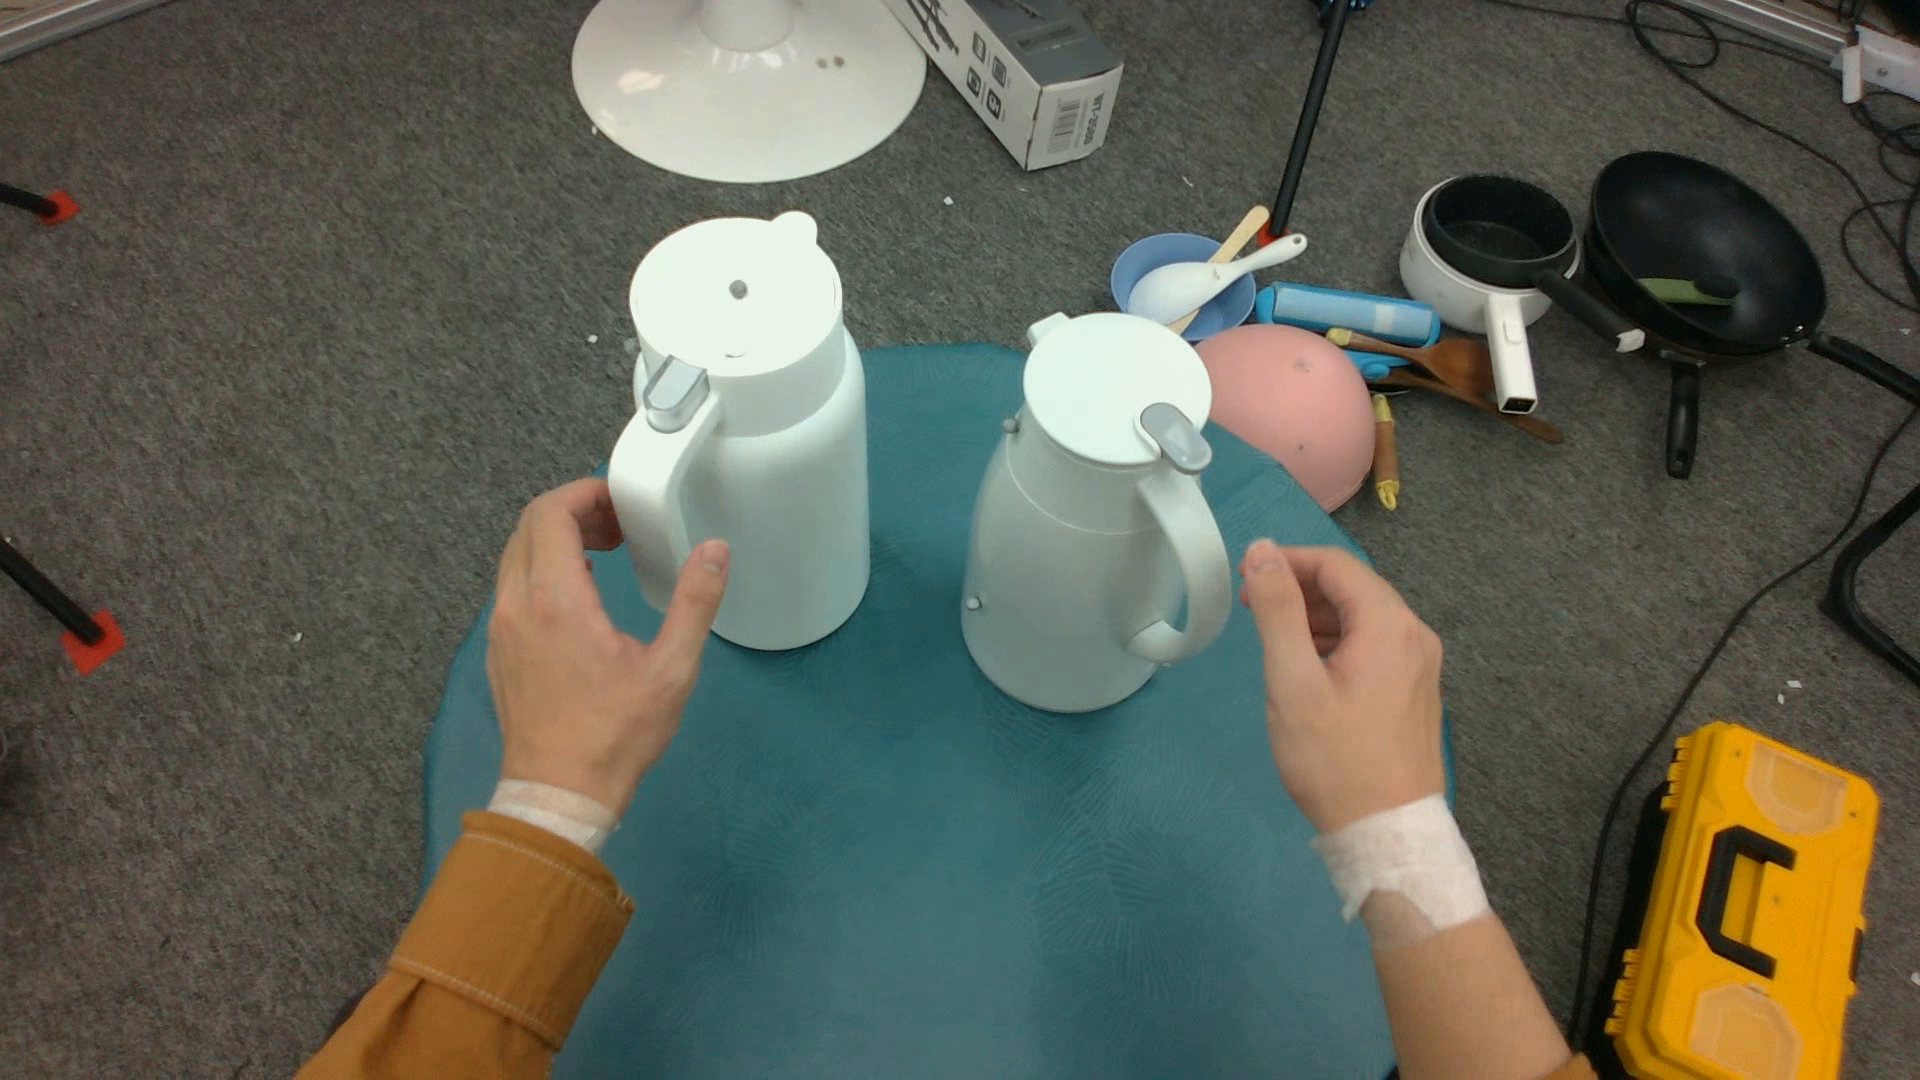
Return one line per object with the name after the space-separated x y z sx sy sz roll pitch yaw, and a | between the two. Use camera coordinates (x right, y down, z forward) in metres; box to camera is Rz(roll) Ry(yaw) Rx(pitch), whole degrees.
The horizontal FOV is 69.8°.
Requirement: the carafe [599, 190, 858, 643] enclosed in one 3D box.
-0.122 -0.039 0.746 0.124 0.267 0.173 22 60 7 | carafe

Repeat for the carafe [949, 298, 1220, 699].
0.076 -0.008 0.751 0.133 0.247 0.168 -27 65 -18 | carafe
